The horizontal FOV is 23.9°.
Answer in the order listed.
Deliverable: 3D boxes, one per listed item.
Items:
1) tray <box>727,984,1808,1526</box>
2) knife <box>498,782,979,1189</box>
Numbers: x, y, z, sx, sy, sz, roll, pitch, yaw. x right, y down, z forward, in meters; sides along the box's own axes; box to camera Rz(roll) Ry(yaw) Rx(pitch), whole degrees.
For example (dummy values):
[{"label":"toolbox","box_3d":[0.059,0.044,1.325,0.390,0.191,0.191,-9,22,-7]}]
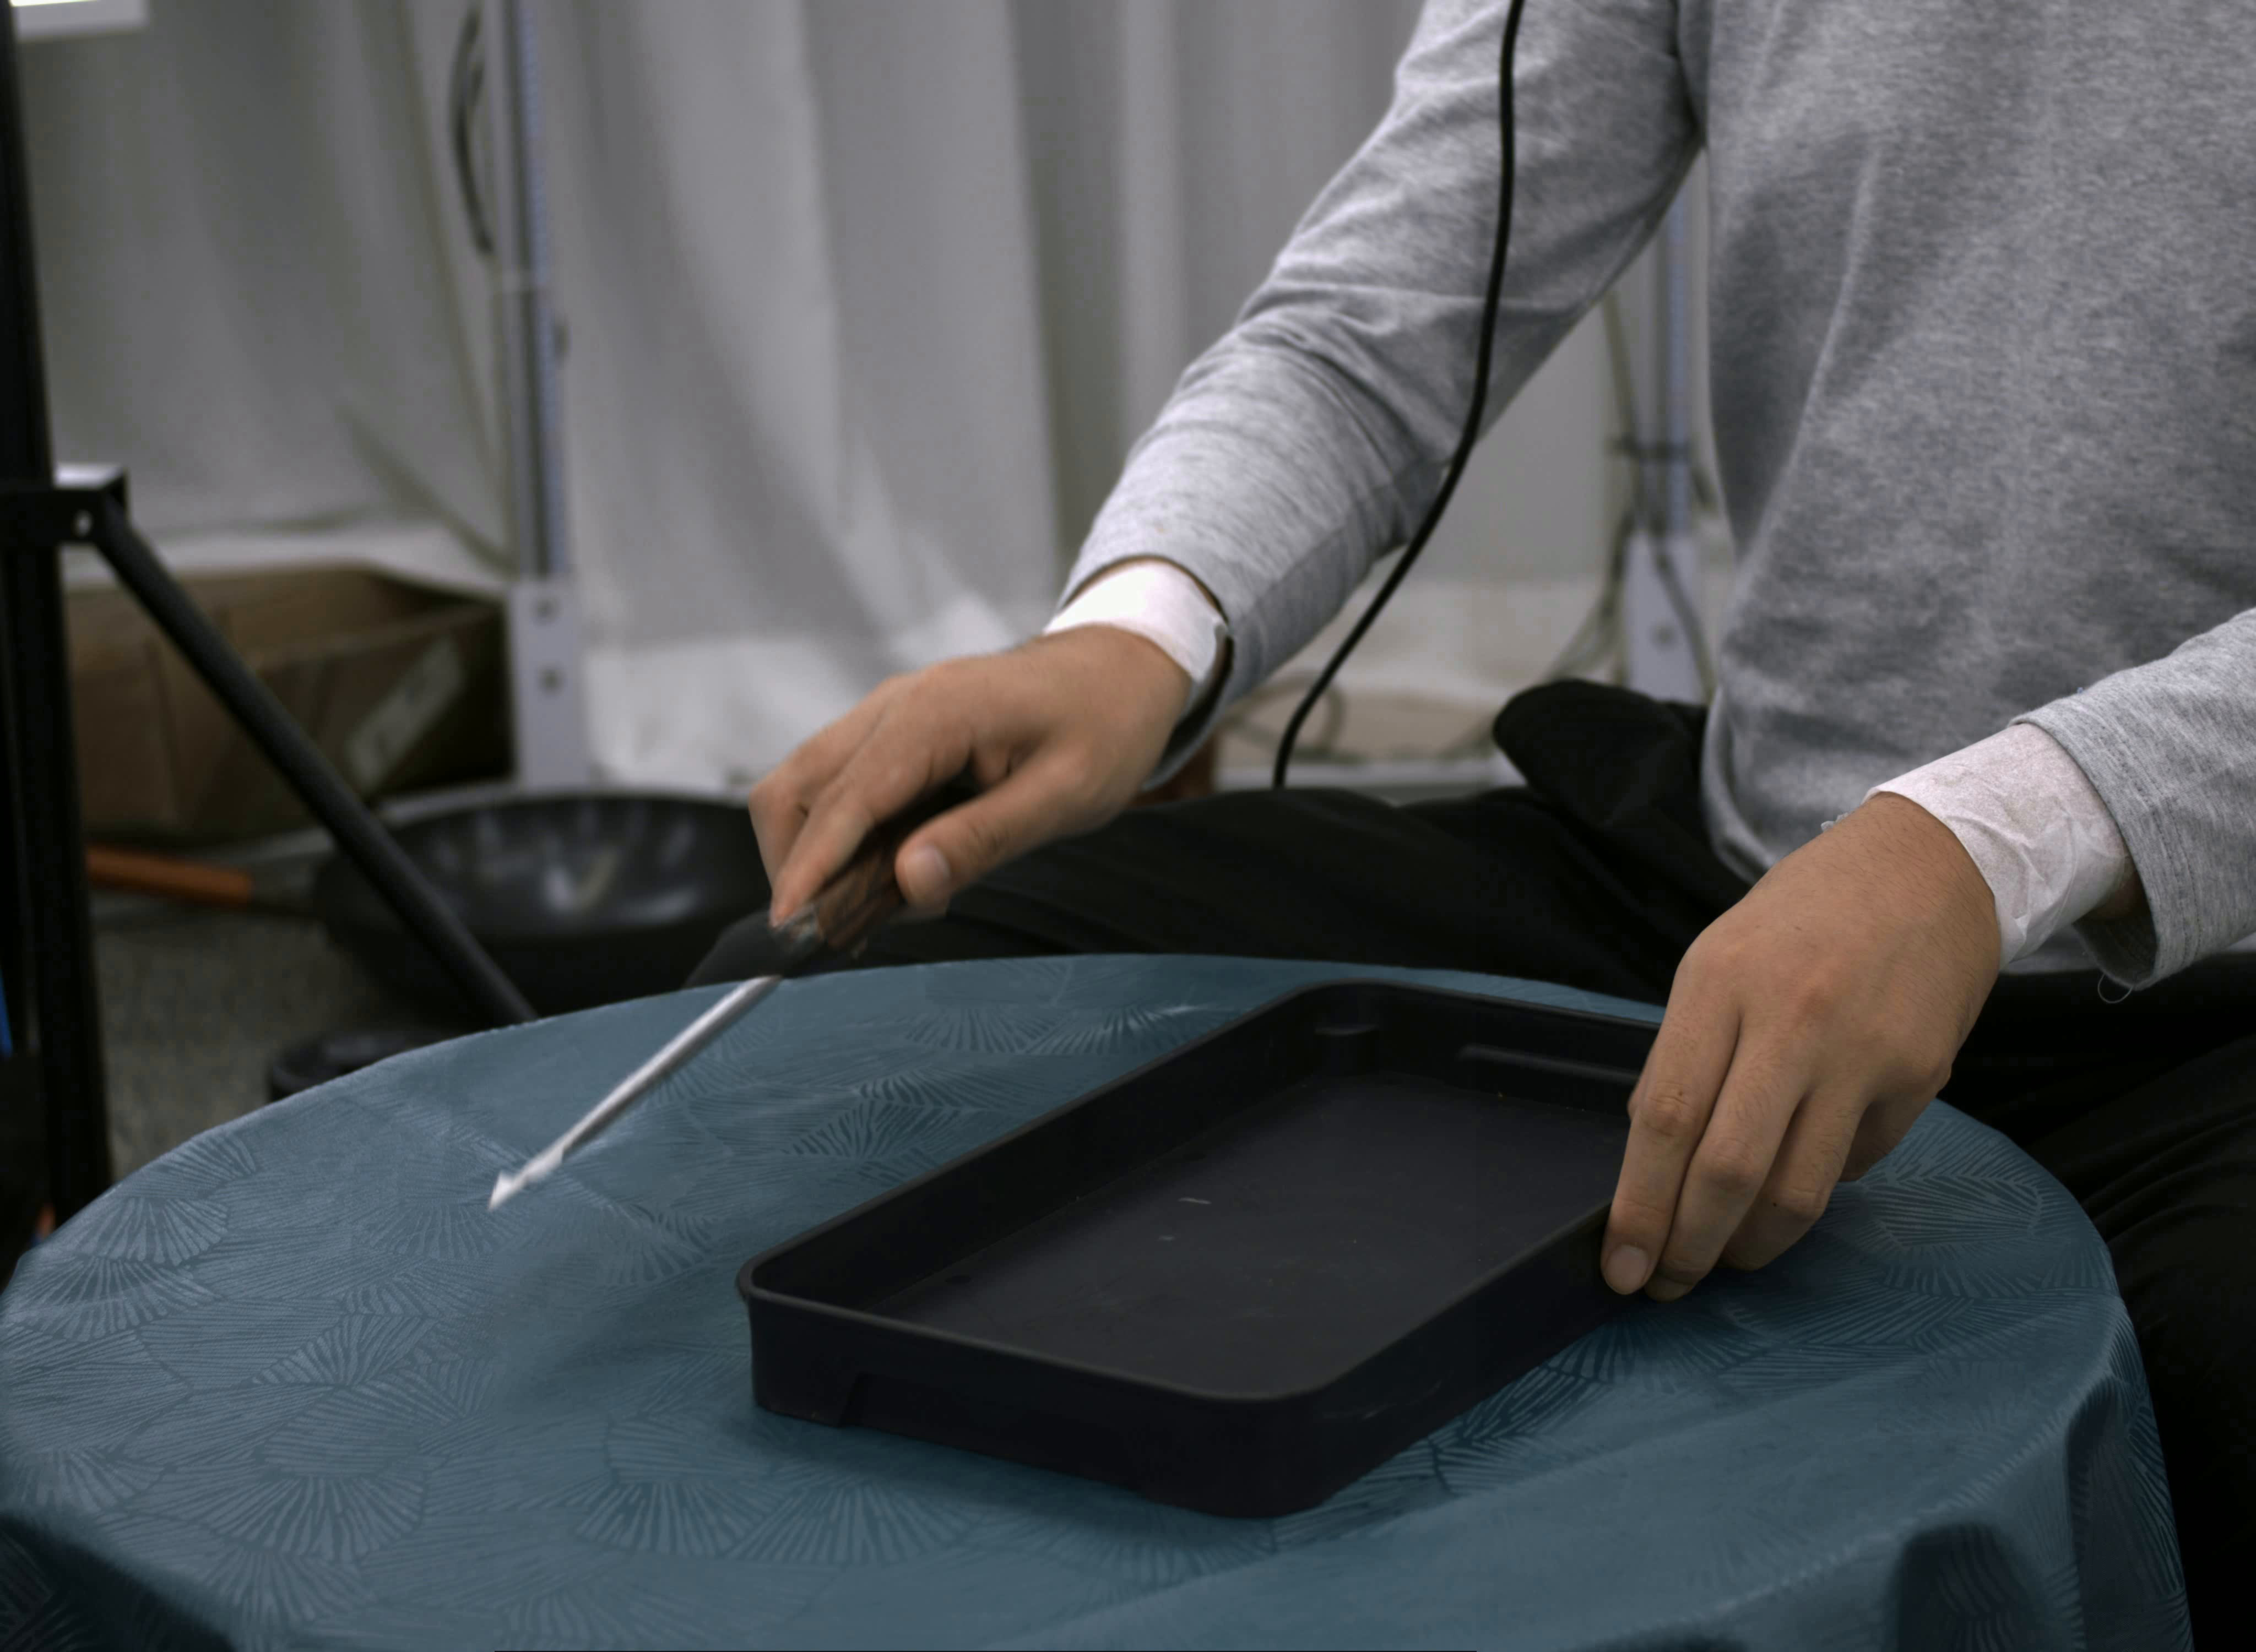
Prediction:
[{"label":"tray","box_3d":[0.047,0.112,1.477,0.188,0.037,0.312,8,18,32]},{"label":"knife","box_3d":[-0.110,0.045,1.554,0.051,0.020,0.285,-35,4,32]}]
